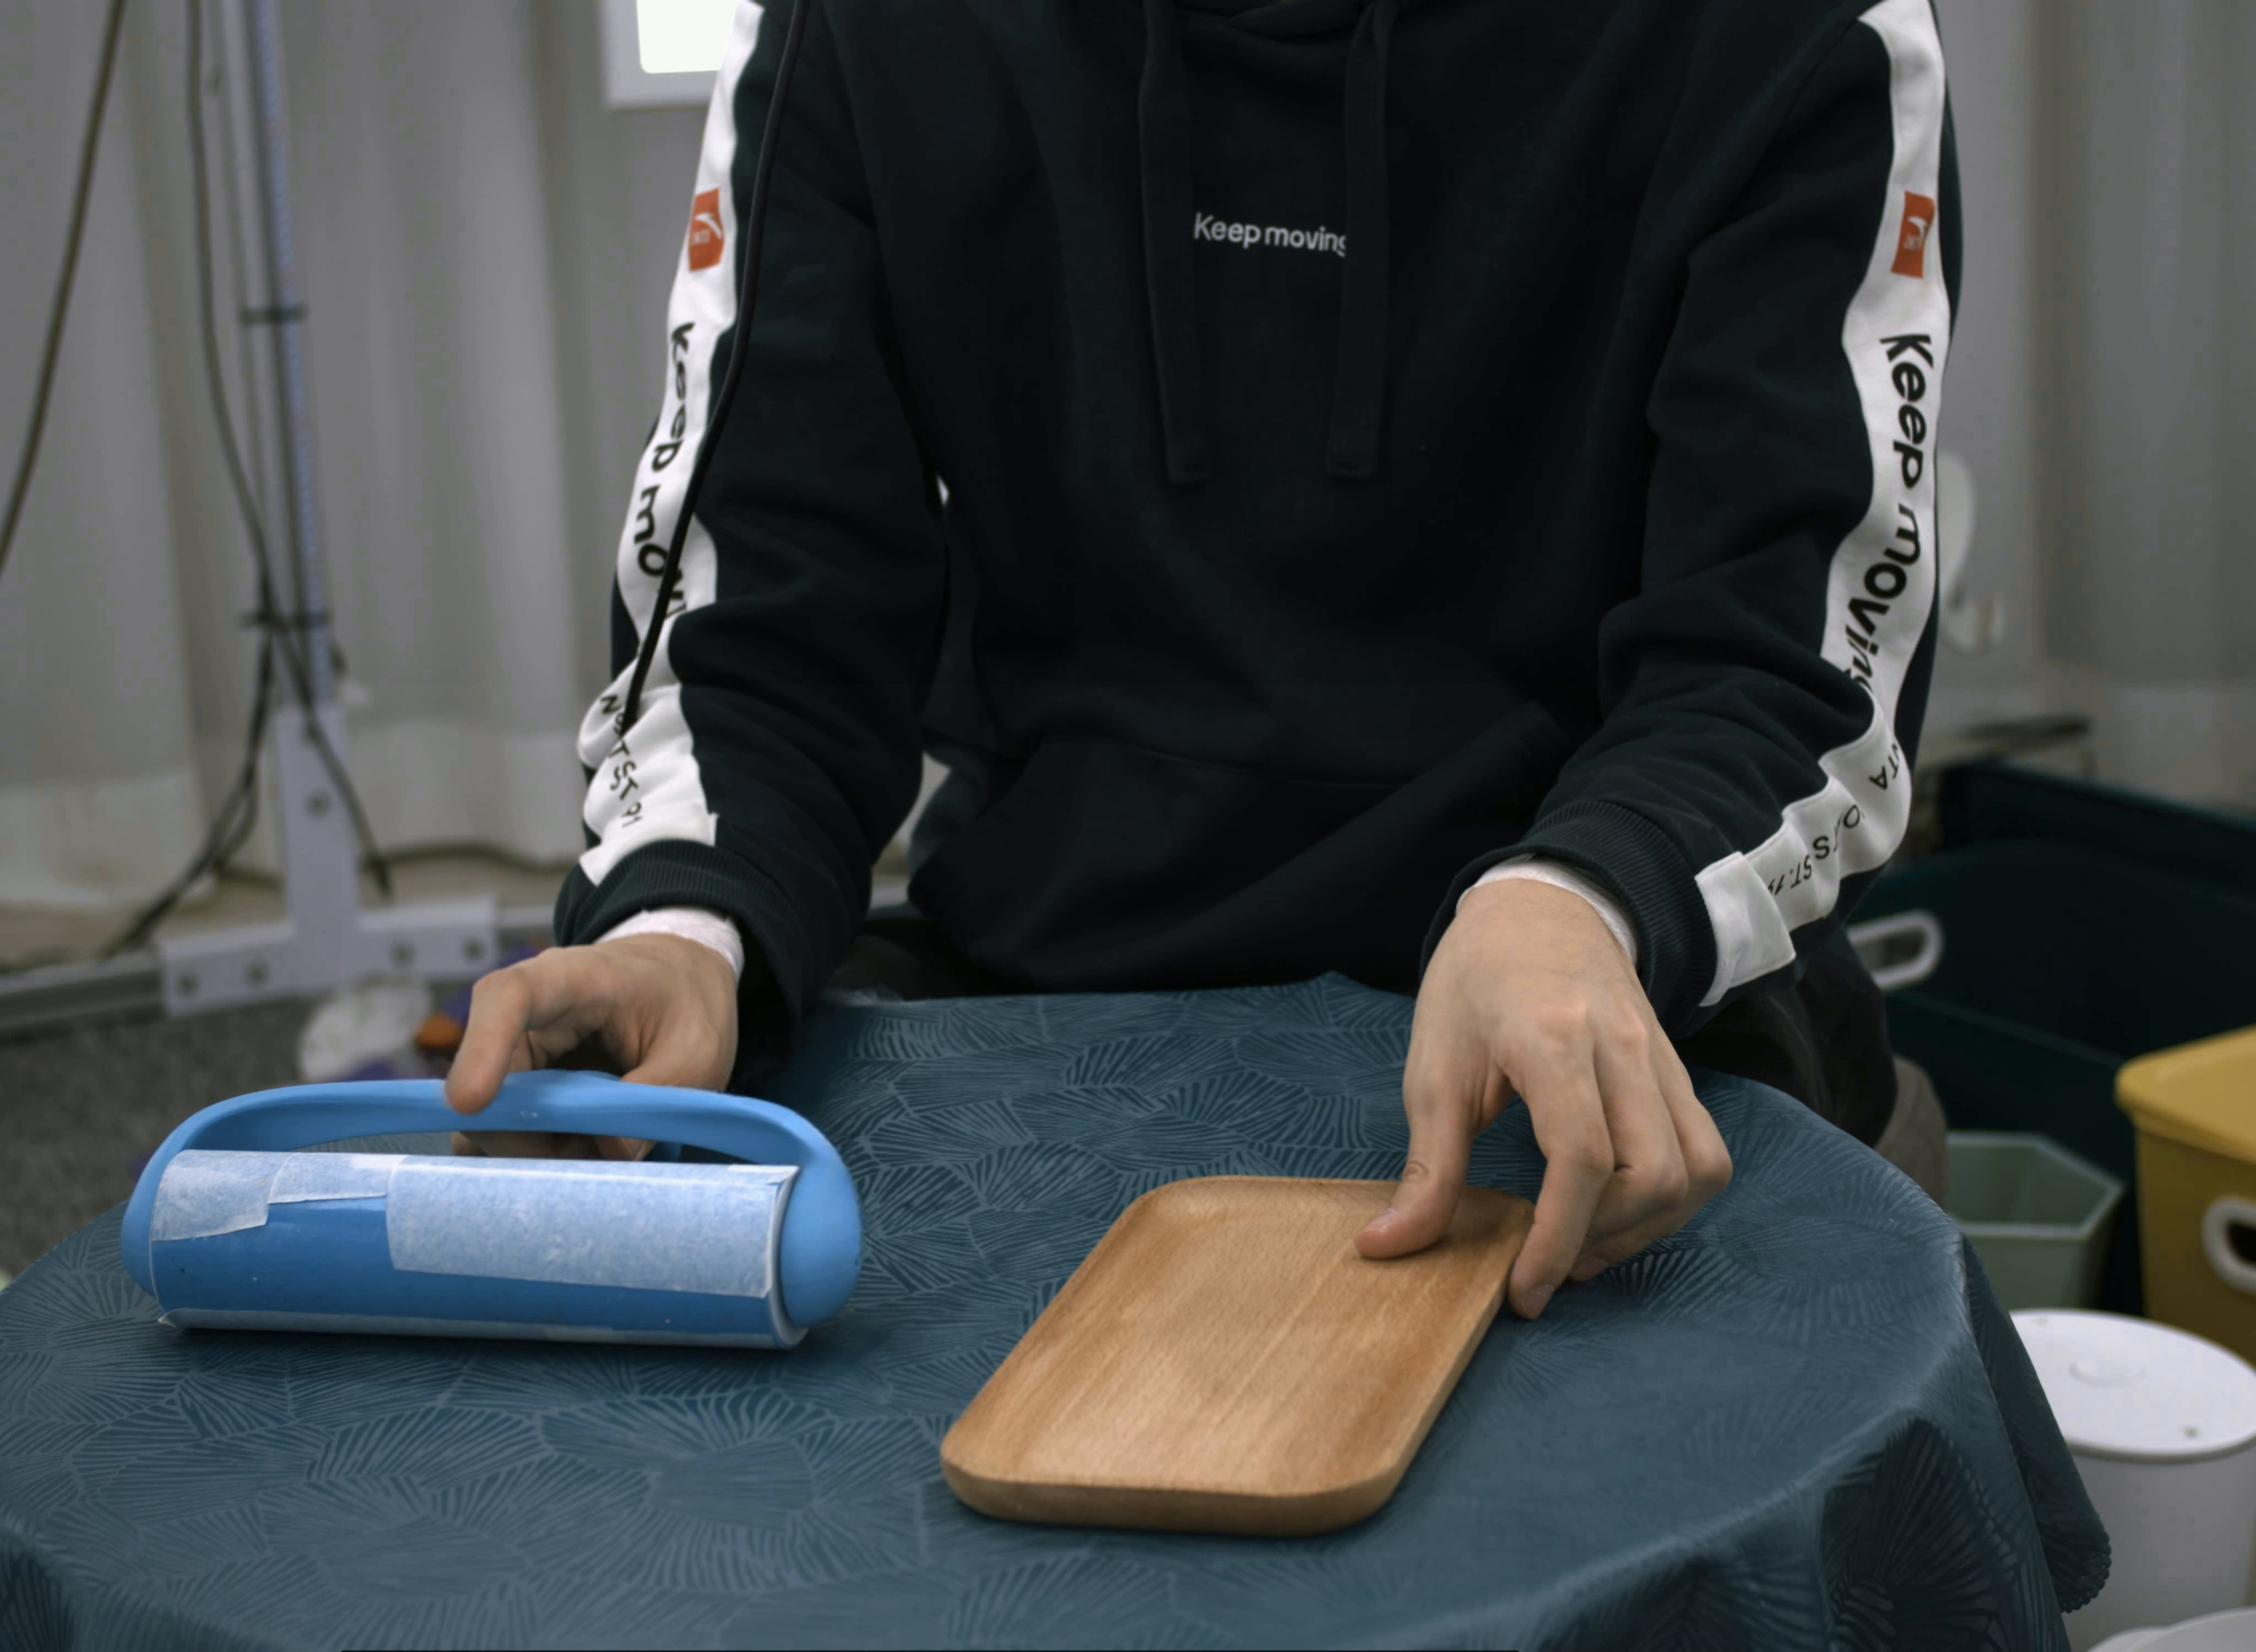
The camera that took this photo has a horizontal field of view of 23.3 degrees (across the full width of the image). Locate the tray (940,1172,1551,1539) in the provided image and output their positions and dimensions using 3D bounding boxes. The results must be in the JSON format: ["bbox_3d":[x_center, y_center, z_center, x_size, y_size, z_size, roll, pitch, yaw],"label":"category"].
[{"bbox_3d":[0.038,0.147,1.552,0.130,0.023,0.251,3,16,16],"label":"tray"}]

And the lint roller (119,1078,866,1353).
[{"bbox_3d":[-0.178,0.107,1.666,0.228,0.067,0.181,-2,16,12],"label":"lint roller"}]
